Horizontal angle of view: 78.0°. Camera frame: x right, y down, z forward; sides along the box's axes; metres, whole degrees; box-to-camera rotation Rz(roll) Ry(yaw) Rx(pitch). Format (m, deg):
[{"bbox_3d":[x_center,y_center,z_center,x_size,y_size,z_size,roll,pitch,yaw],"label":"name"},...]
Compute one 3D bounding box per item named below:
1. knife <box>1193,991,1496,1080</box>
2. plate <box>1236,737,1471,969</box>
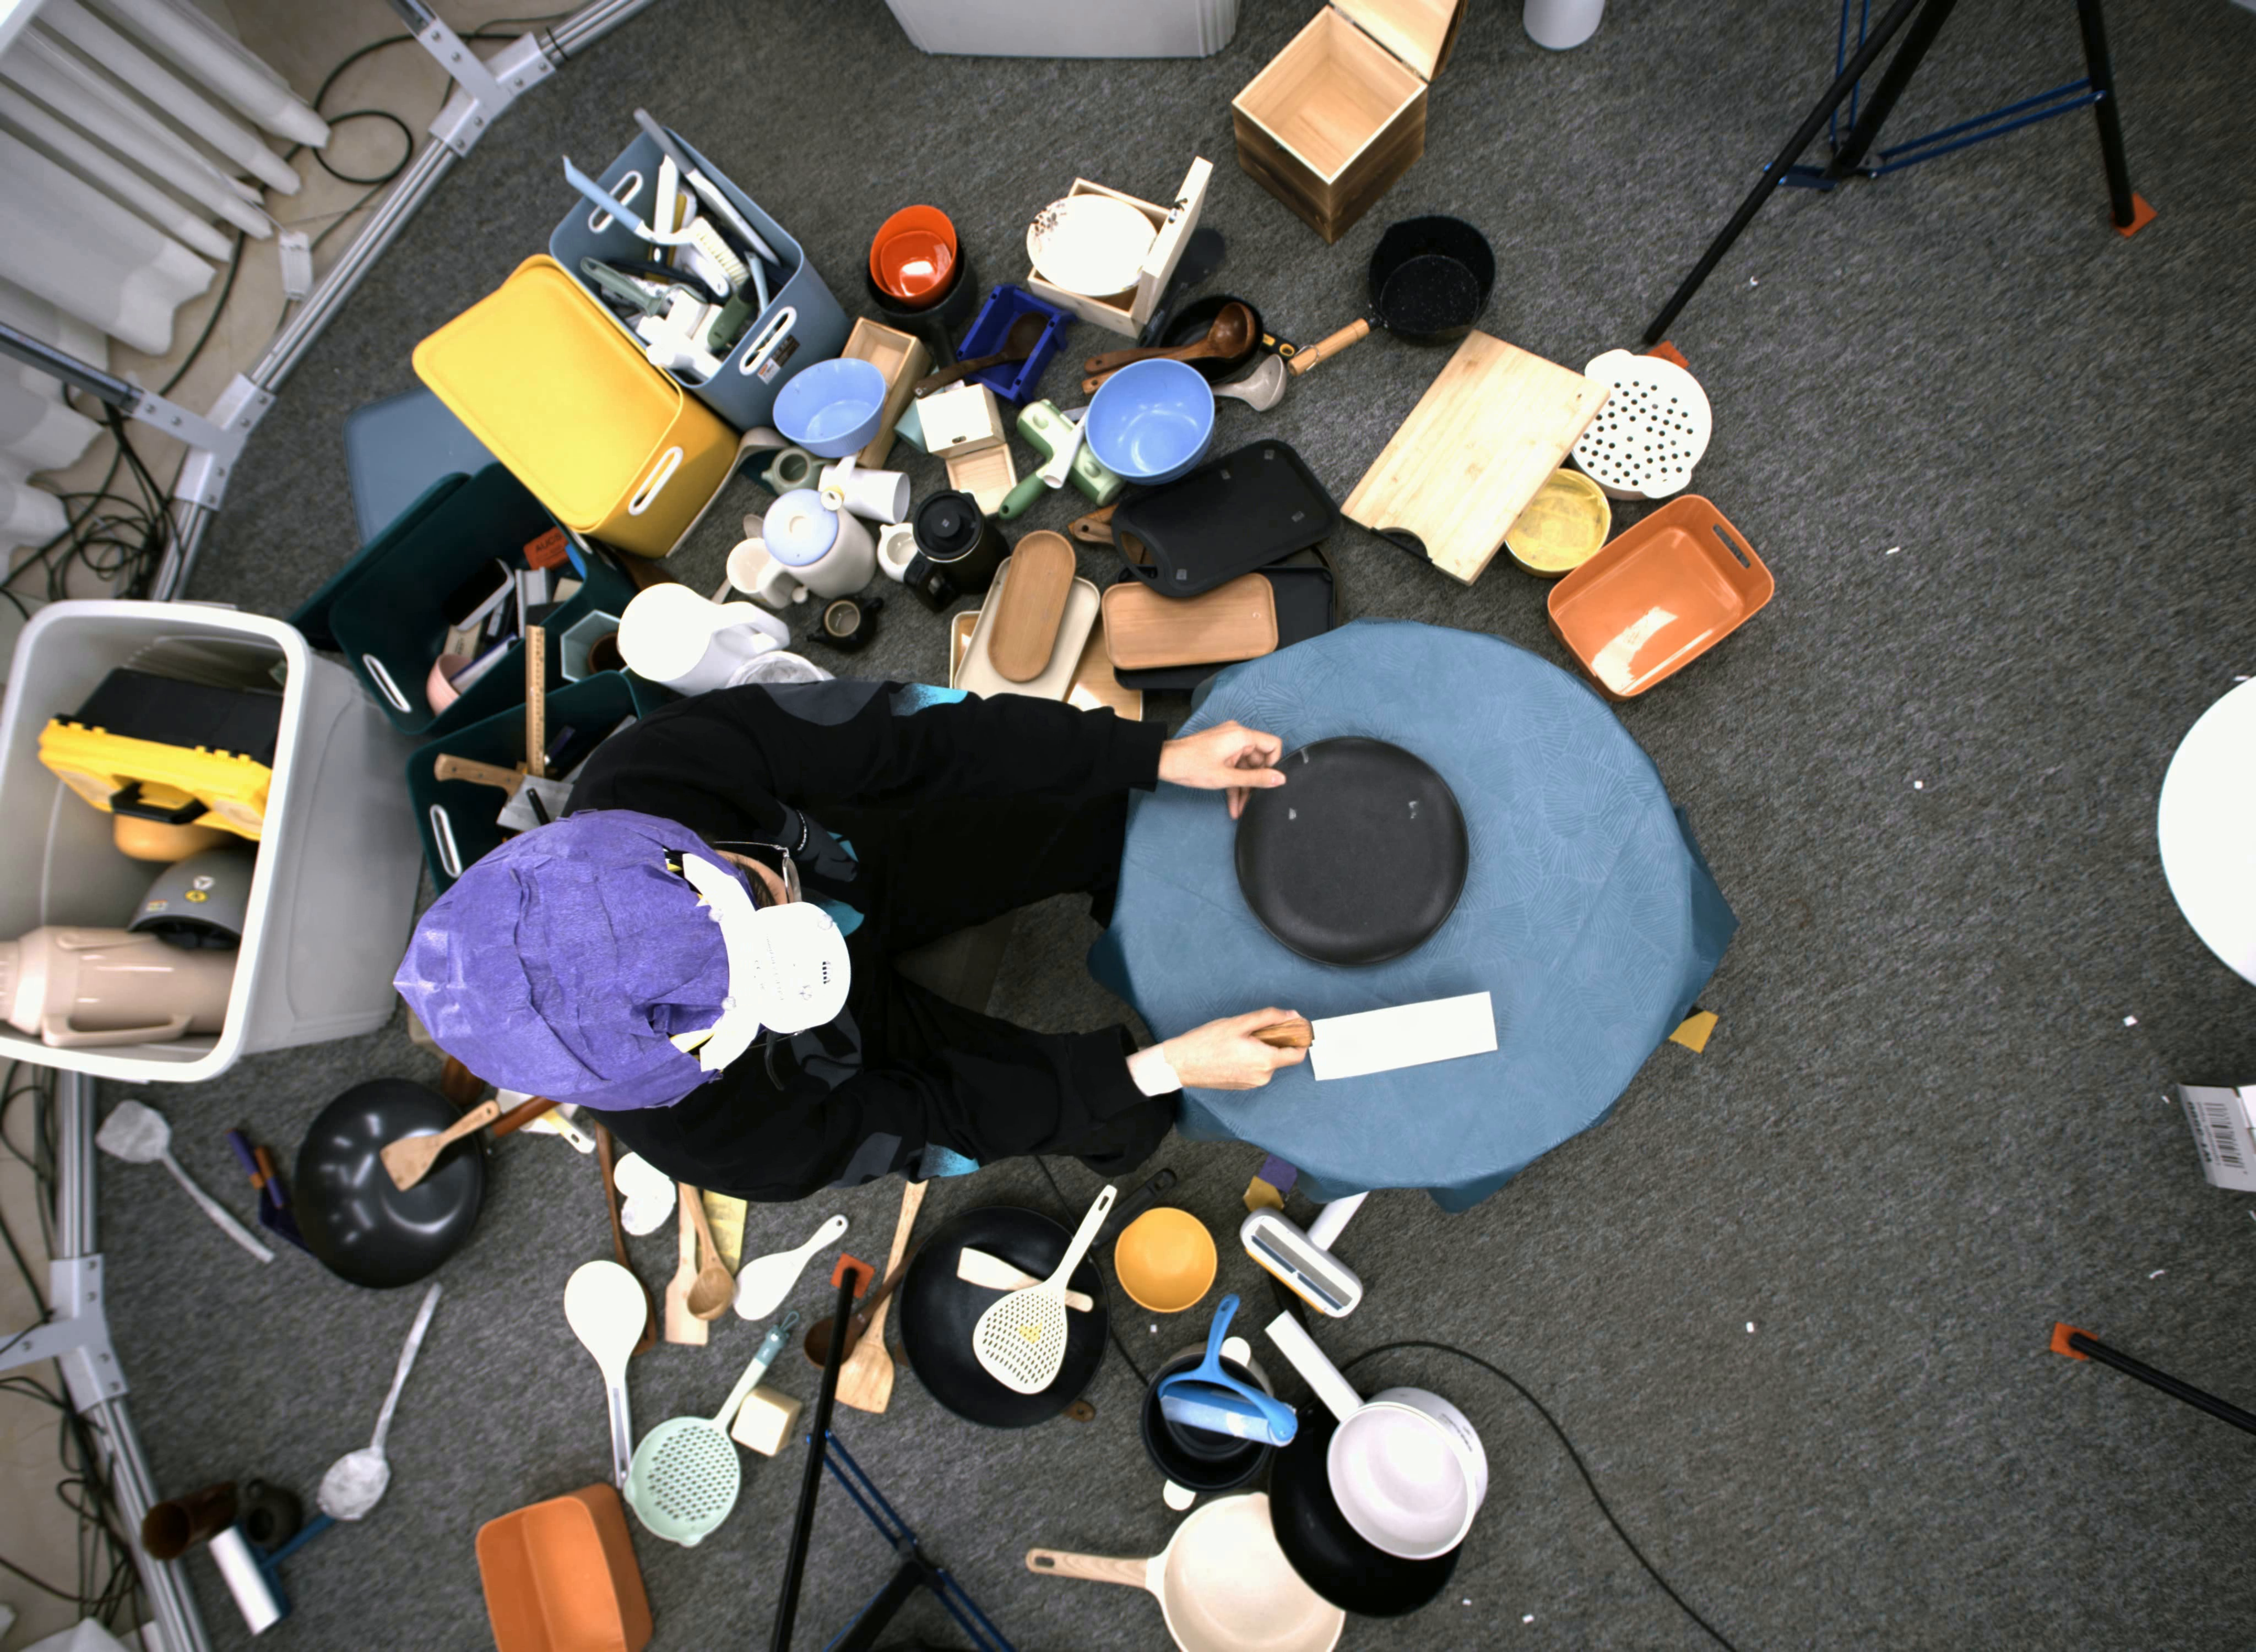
[{"bbox_3d":[0.224,0.224,1.426,0.307,0.020,0.095,-11,128,11],"label":"knife"},{"bbox_3d":[0.235,0.027,1.451,0.245,0.023,0.244,0,90,8],"label":"plate"}]
